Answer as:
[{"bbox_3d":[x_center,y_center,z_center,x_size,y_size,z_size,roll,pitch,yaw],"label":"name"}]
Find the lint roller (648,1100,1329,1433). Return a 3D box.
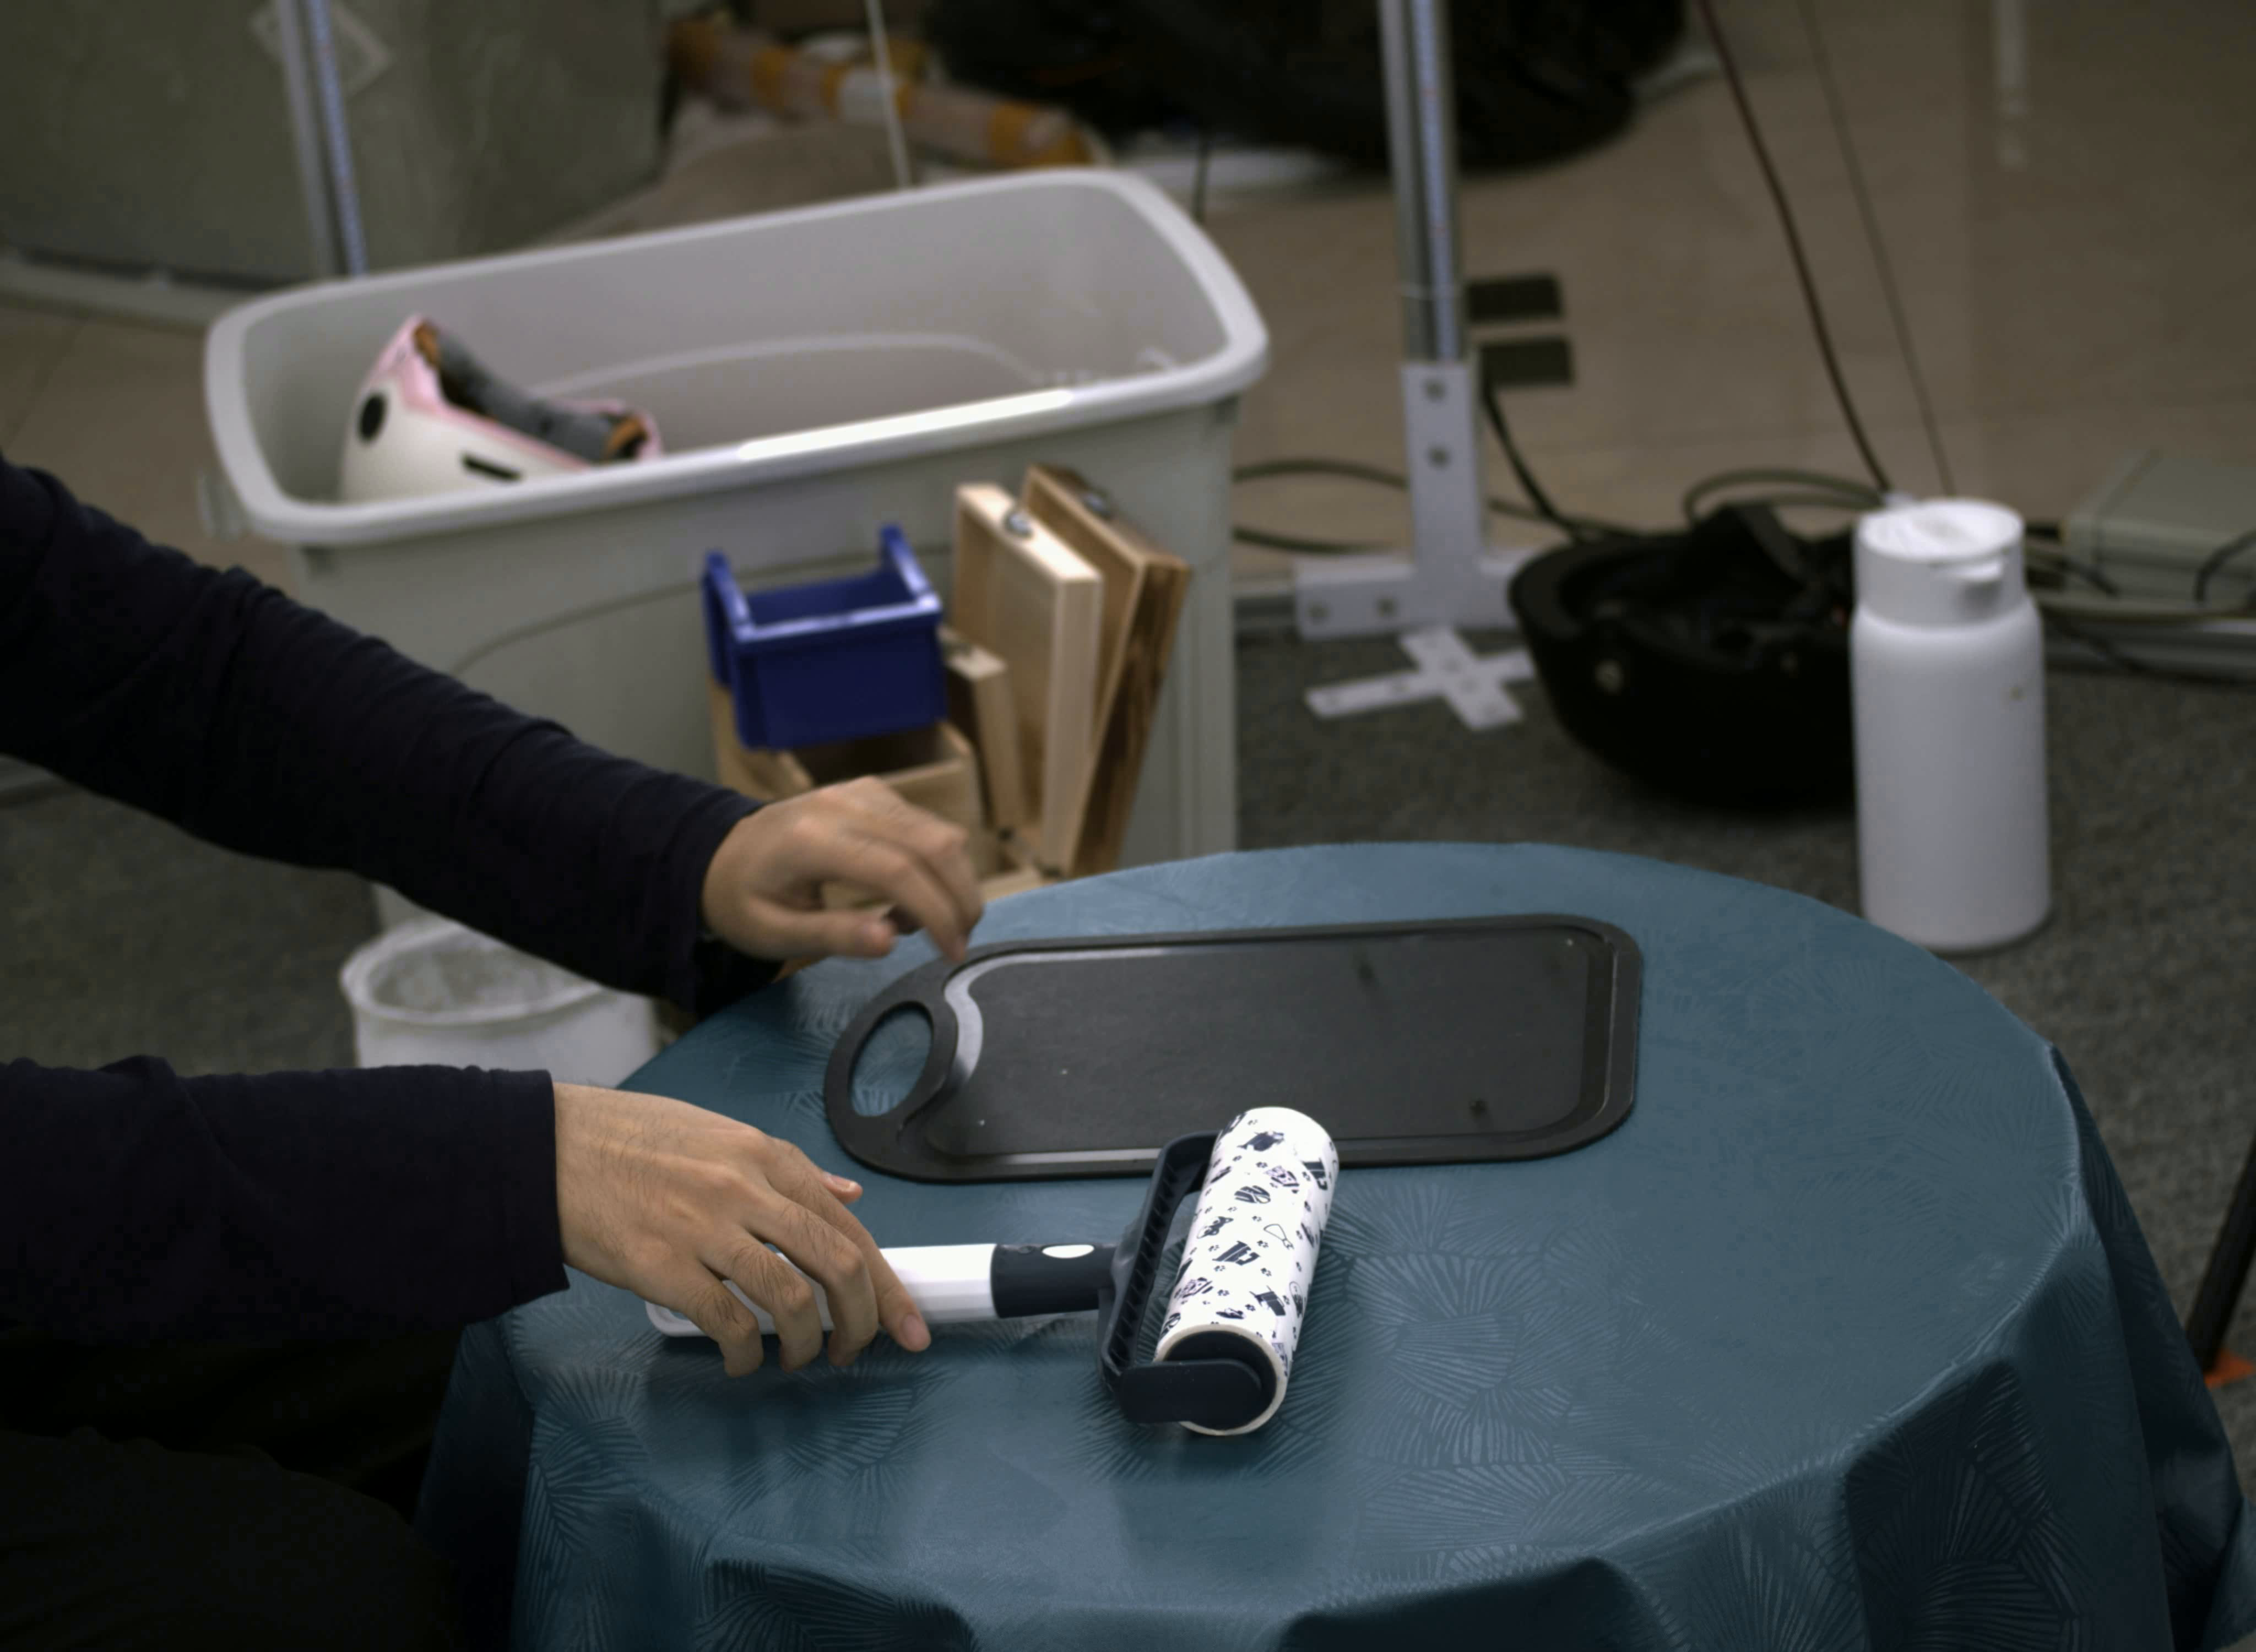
[{"bbox_3d":[-0.057,0.166,2.060,0.247,0.051,0.173,-5,26,11],"label":"lint roller"}]

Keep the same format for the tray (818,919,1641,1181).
[{"bbox_3d":[0.038,0.086,2.247,0.325,0.010,0.208,-2,25,9],"label":"tray"}]
